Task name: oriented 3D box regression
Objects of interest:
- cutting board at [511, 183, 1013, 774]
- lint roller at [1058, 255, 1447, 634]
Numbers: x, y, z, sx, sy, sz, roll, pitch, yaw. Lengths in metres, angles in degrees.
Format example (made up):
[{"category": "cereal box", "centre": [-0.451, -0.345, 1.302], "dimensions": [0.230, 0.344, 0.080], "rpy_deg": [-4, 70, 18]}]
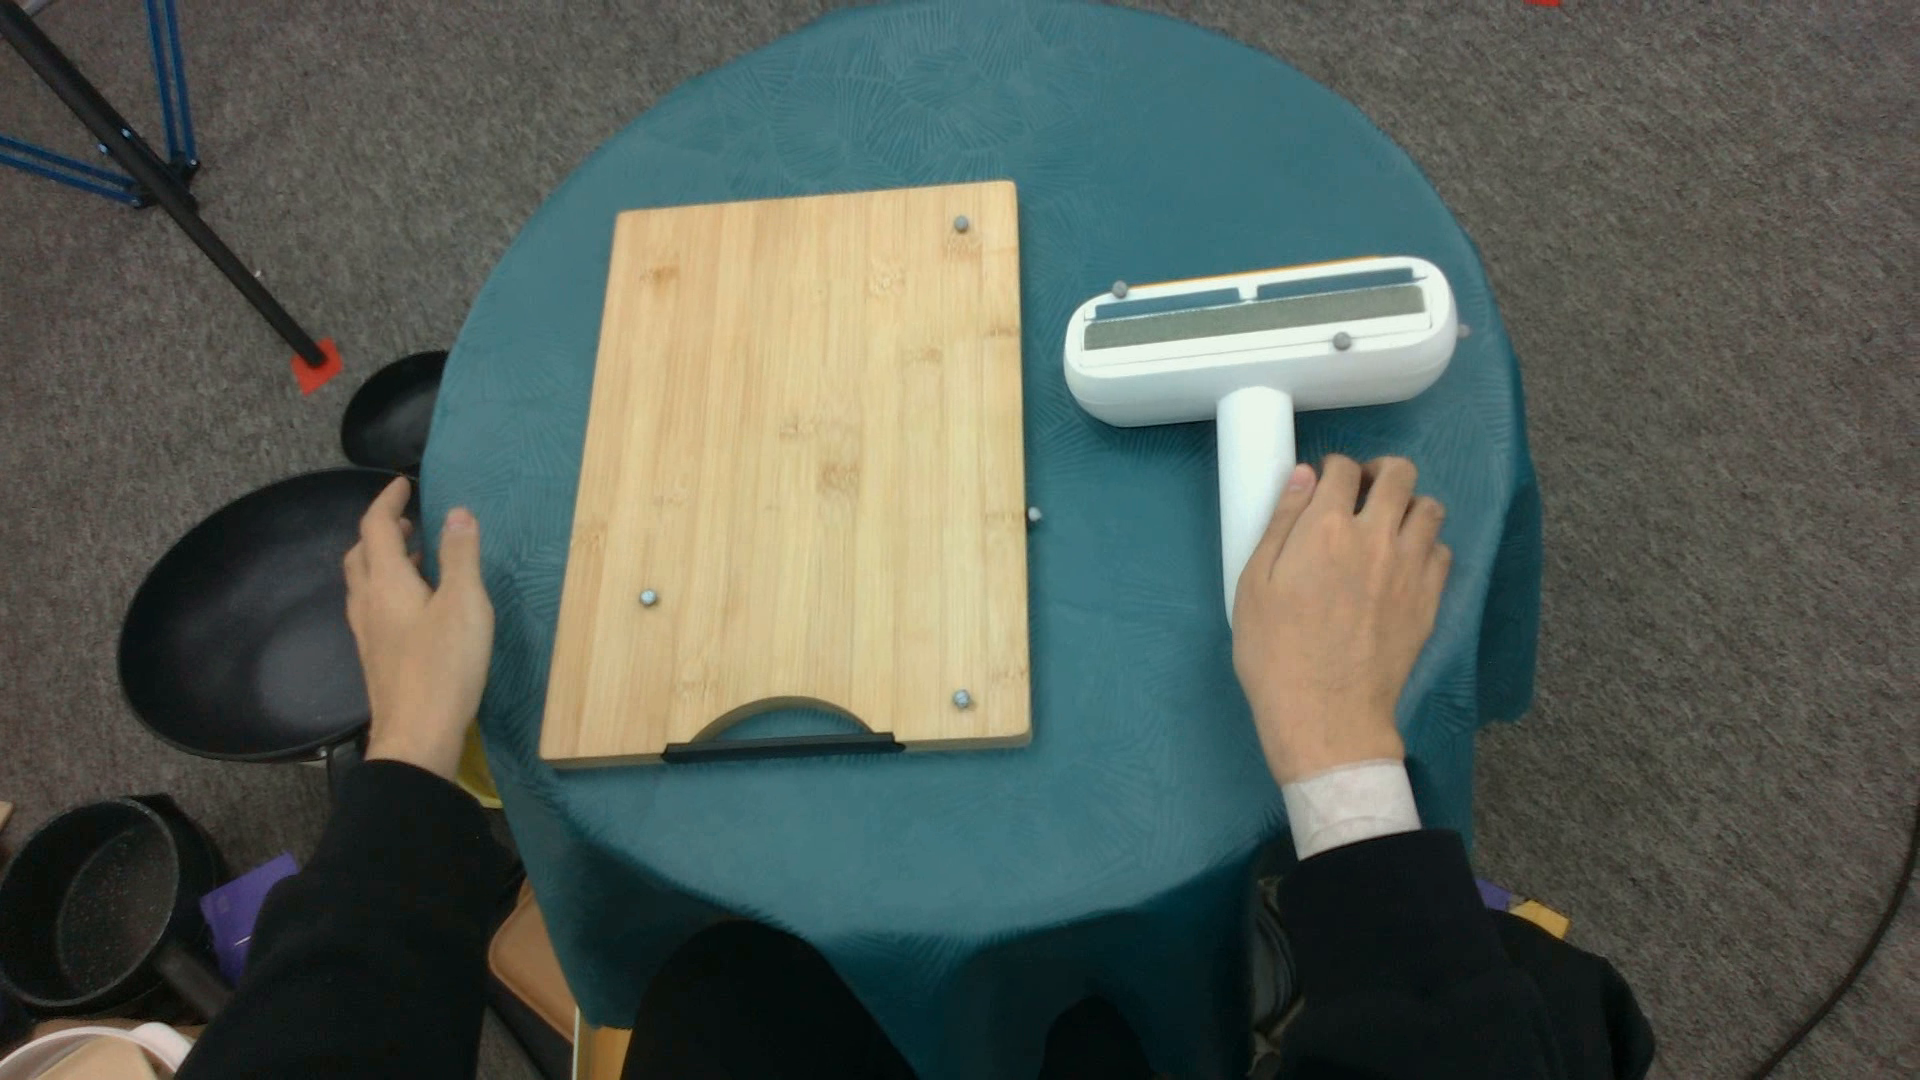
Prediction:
[{"category": "cutting board", "centre": [-0.096, -0.048, 0.739], "dimensions": [0.250, 0.023, 0.350], "rpy_deg": [-4, 62, 5]}, {"category": "lint roller", "centre": [0.140, -0.050, 0.683], "dimensions": [0.192, 0.074, 0.193], "rpy_deg": [1, 65, 13]}]
